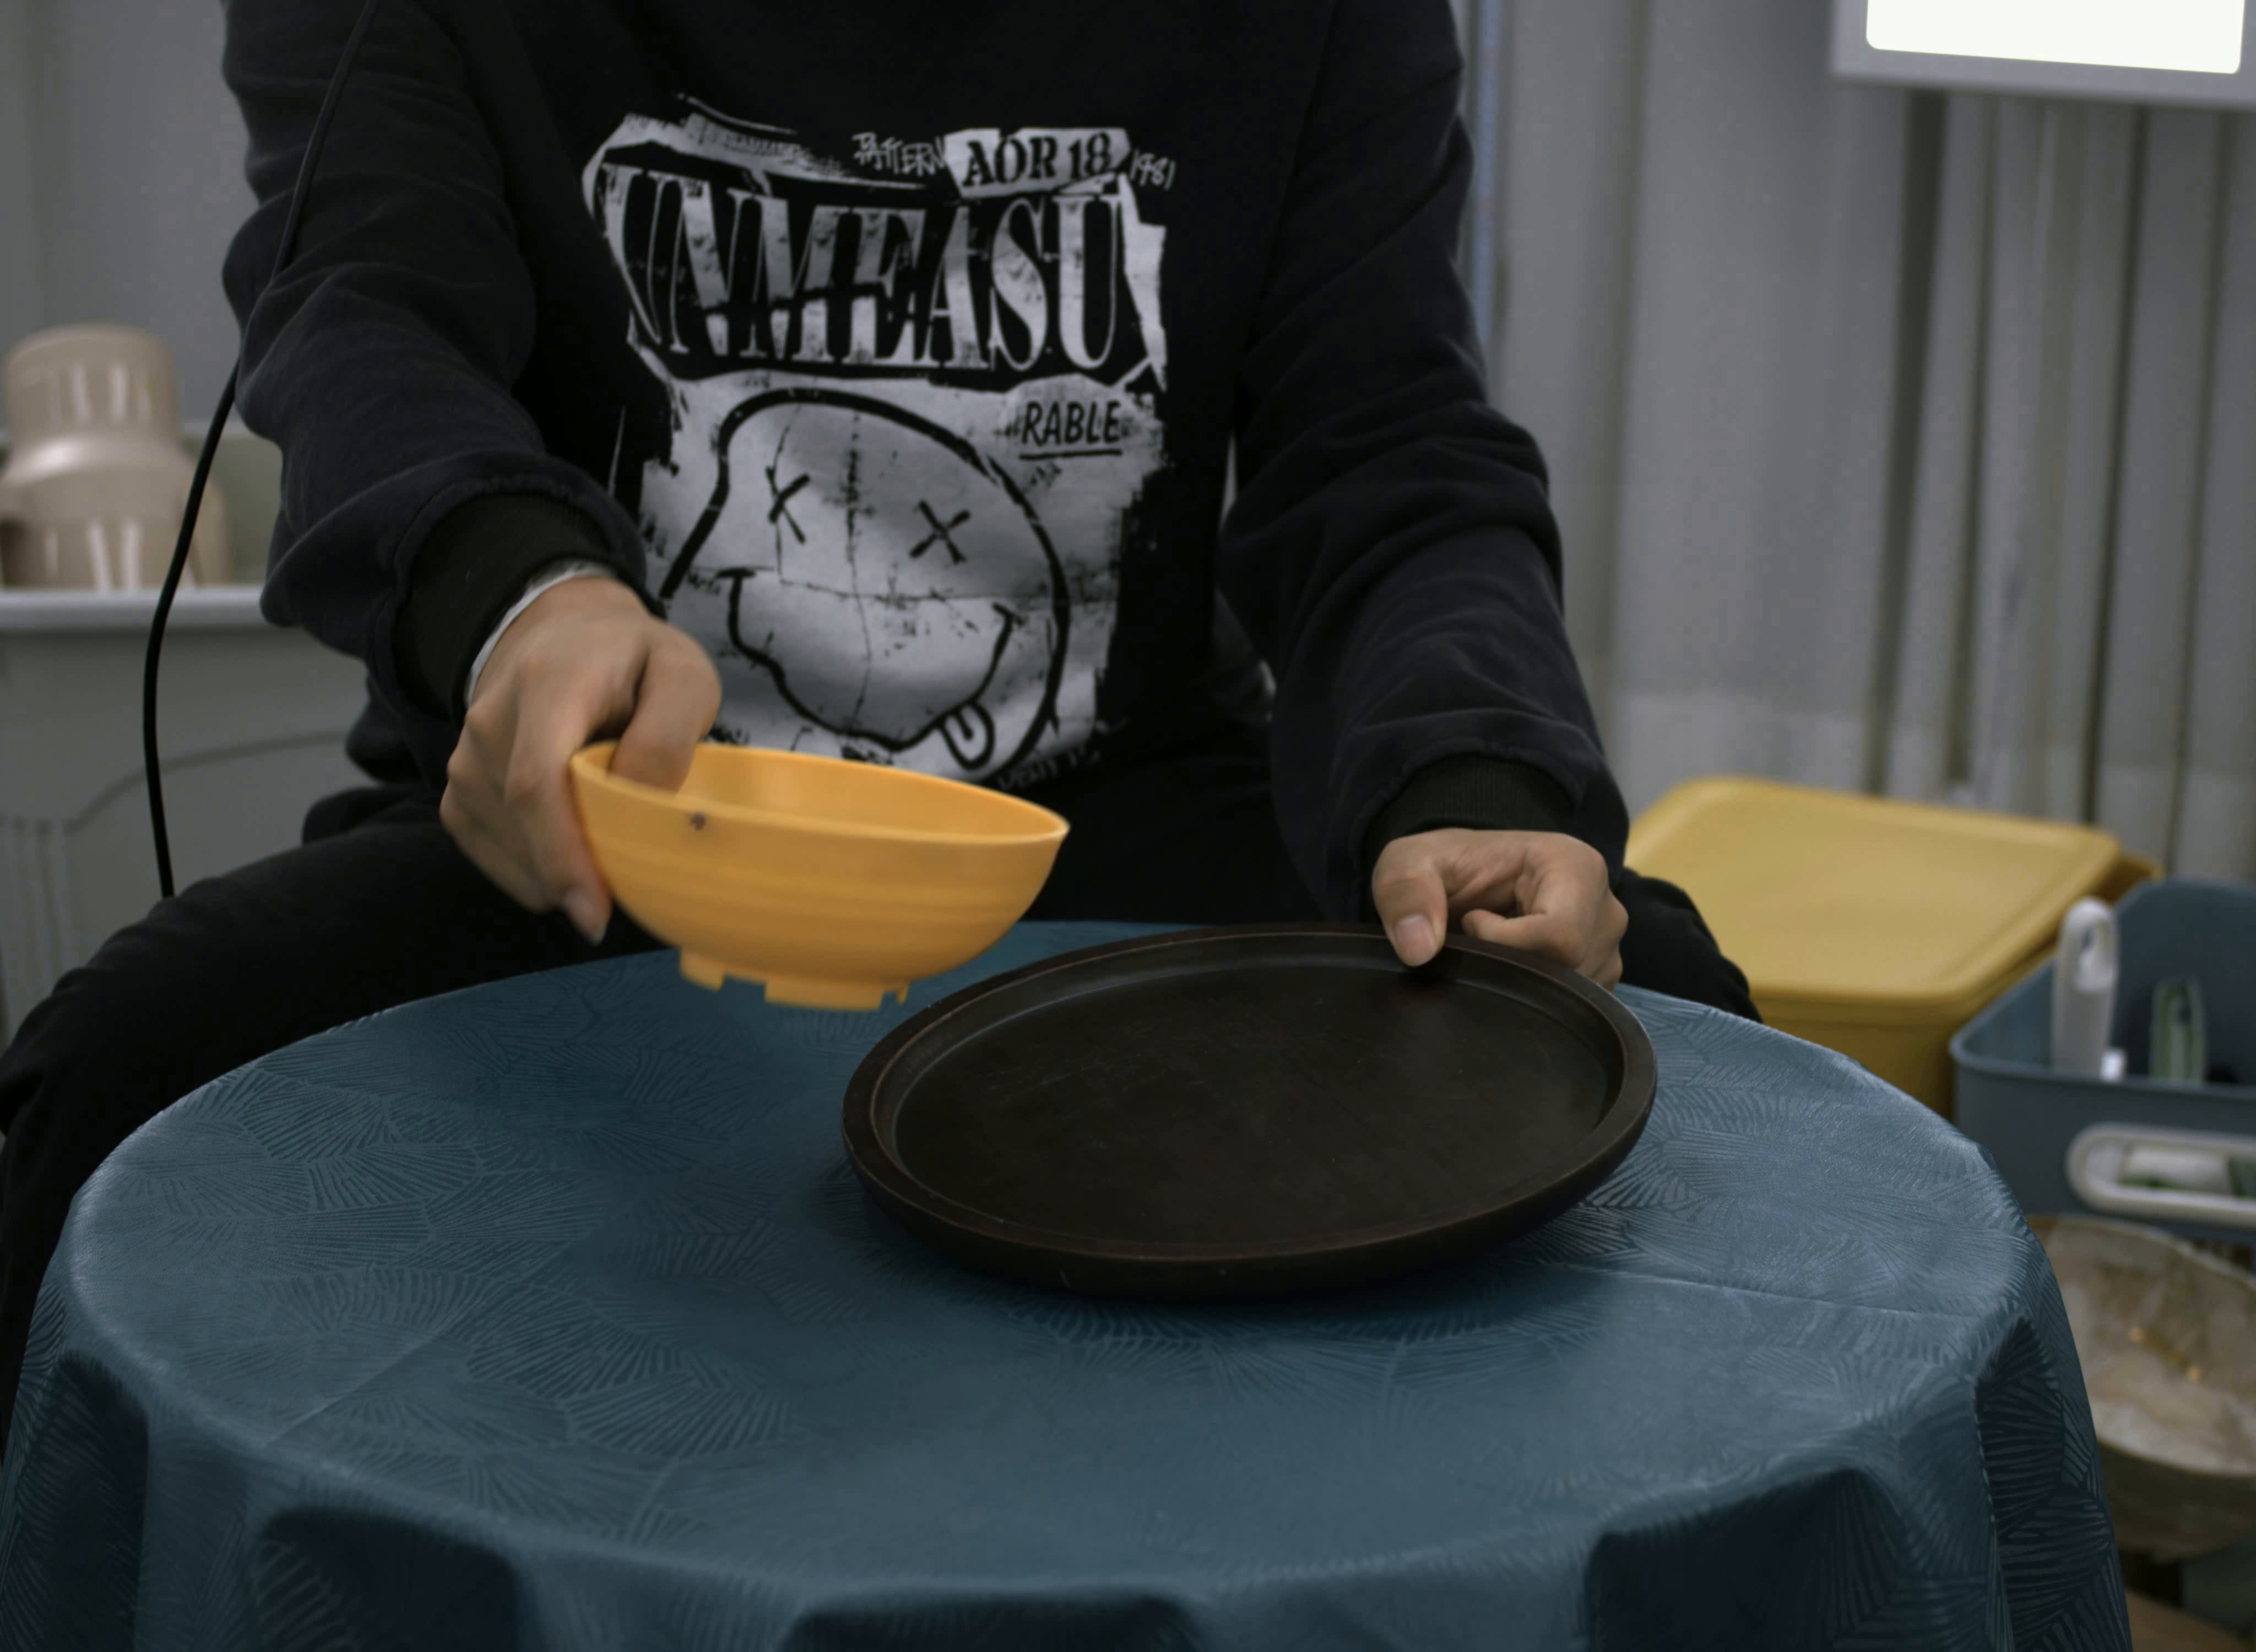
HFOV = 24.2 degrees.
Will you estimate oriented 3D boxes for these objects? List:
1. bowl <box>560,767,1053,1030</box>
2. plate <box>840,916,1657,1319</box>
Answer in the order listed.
[{"bbox_3d":[-0.096,0.024,1.516,0.145,0.060,0.145,8,6,0],"label":"bowl"},{"bbox_3d":[0.038,0.087,1.627,0.254,0.029,0.253,-5,22,3],"label":"plate"}]
